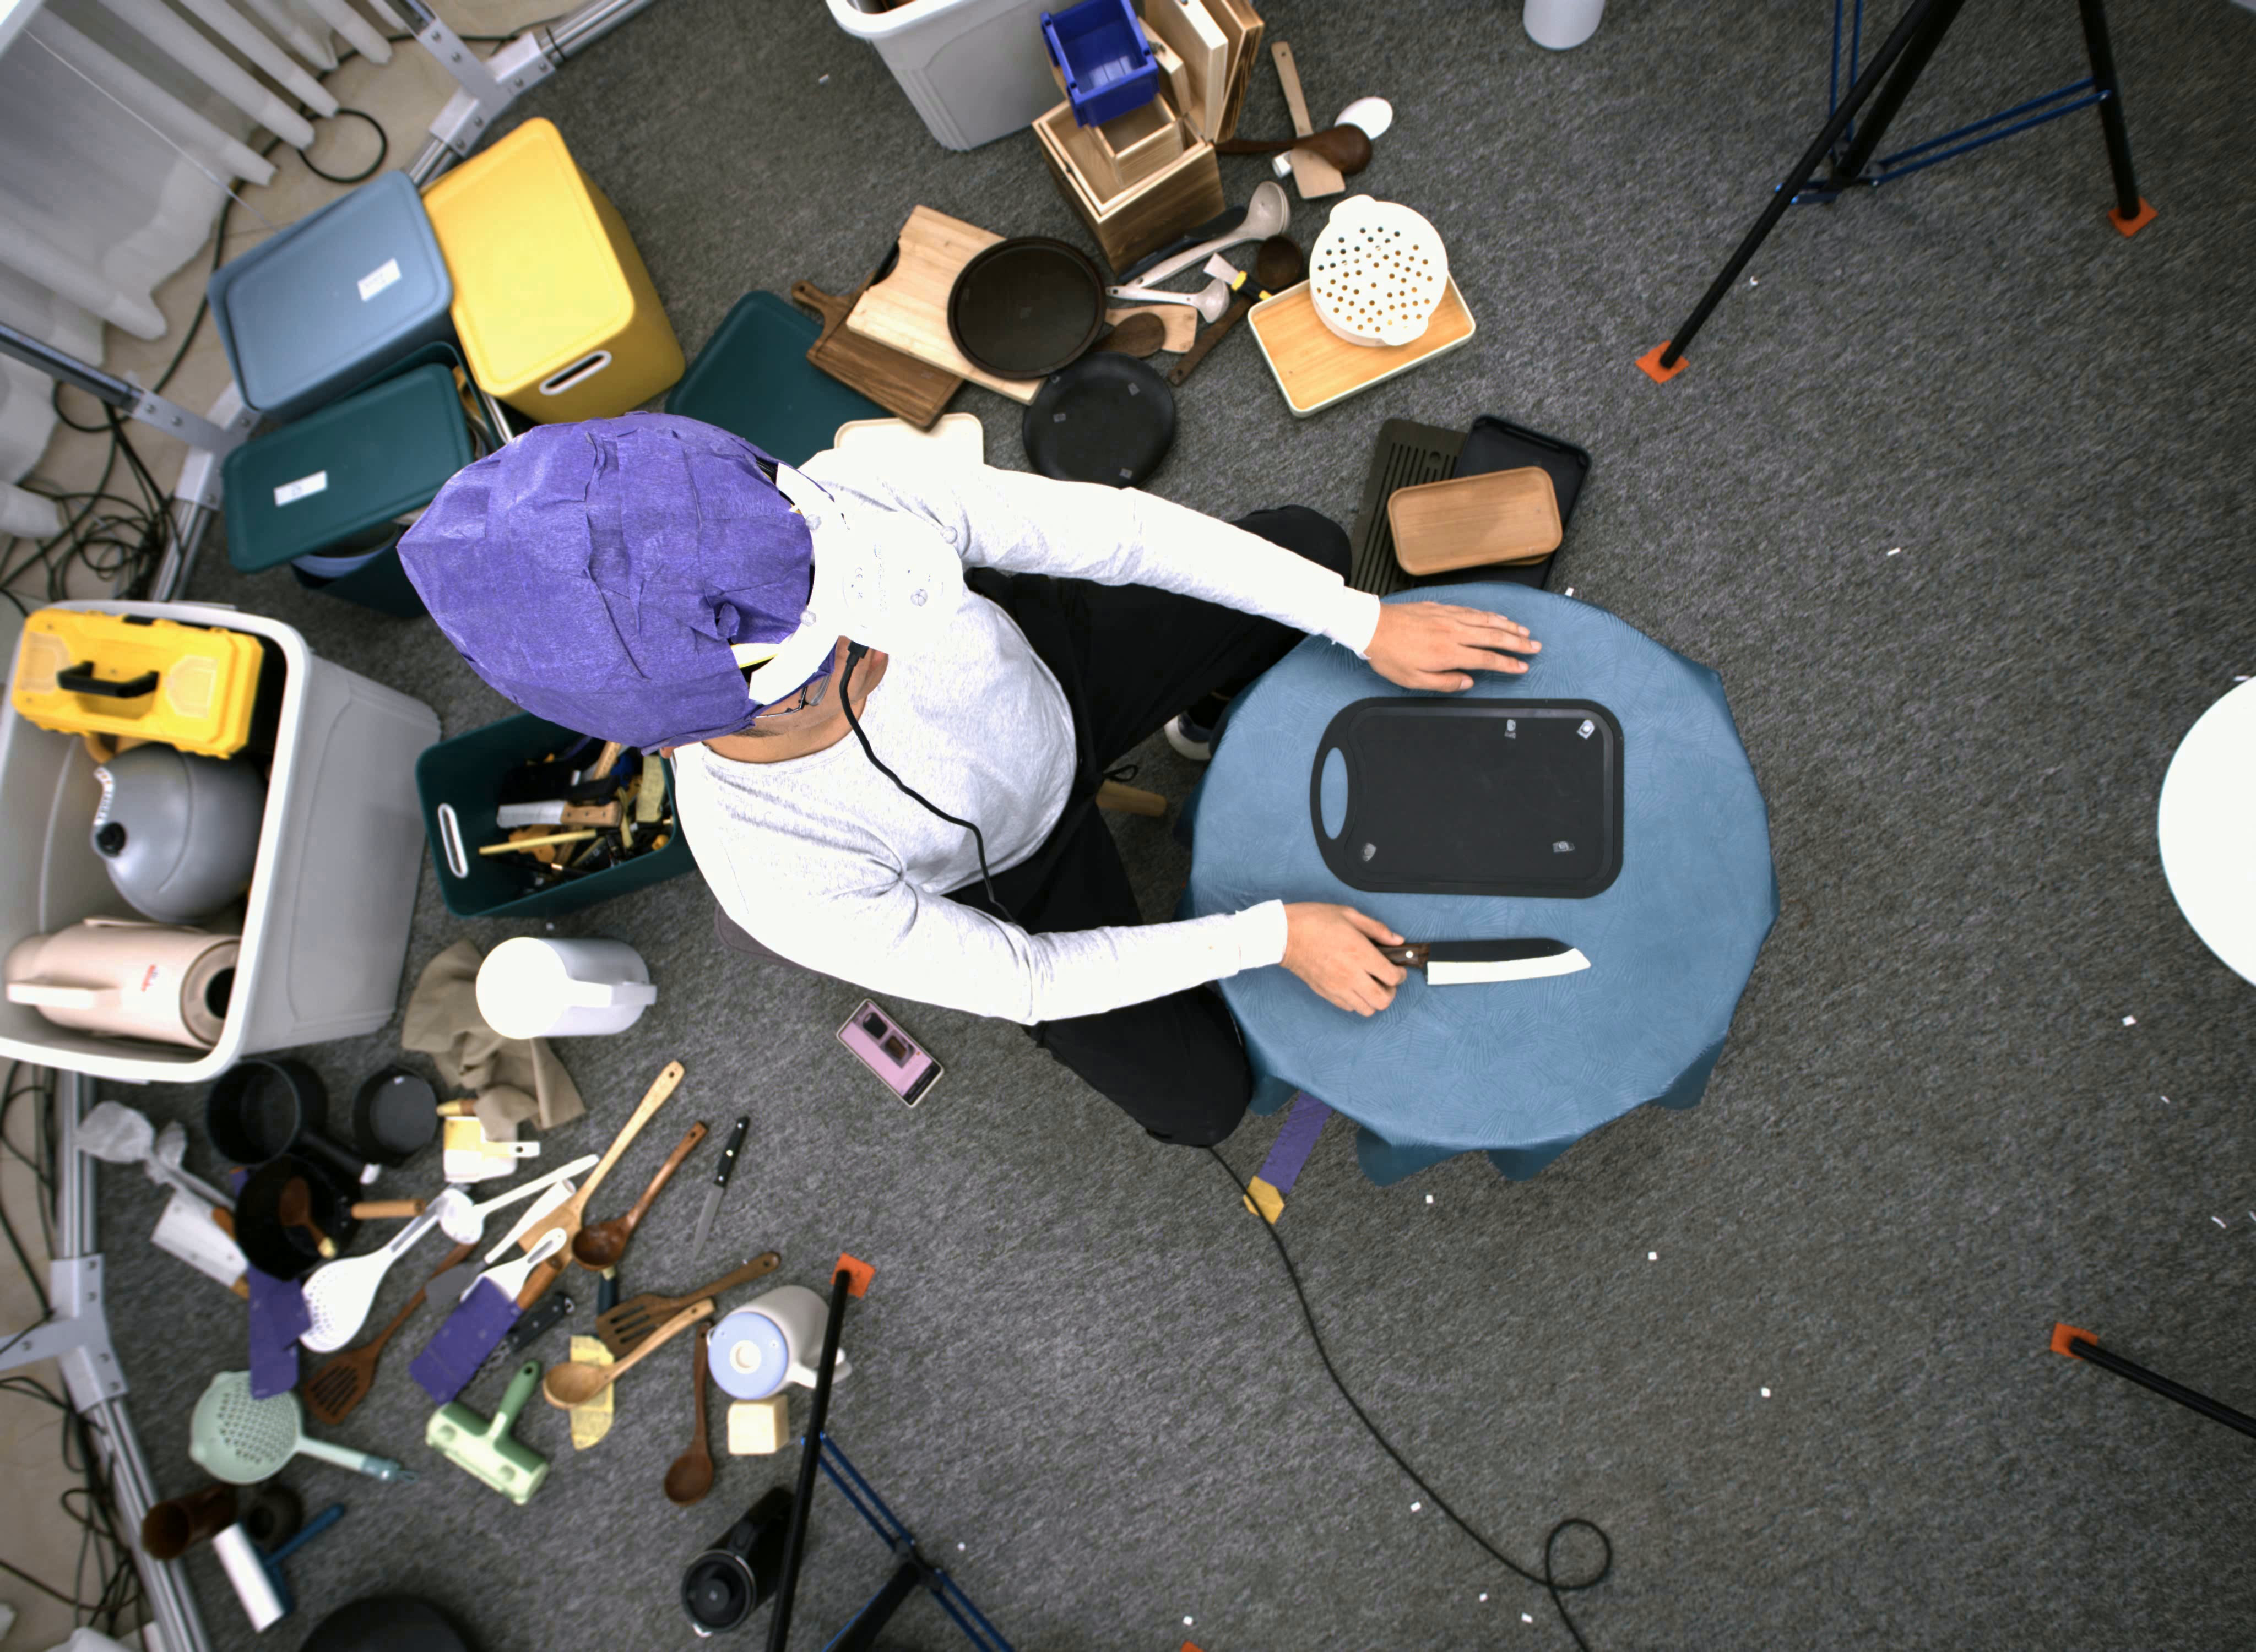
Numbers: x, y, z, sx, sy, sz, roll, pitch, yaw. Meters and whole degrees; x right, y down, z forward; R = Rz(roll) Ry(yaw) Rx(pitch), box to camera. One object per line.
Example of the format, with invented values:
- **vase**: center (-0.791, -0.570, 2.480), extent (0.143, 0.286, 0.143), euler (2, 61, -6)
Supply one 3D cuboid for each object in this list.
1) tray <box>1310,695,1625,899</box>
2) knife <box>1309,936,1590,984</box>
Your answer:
- **tray**: center (0.355, -0.035, 1.447), extent (0.326, 0.010, 0.210), euler (2, 87, 11)
- **knife**: center (0.334, 0.138, 1.437), extent (0.290, 0.020, 0.050), euler (-1, 92, 8)
